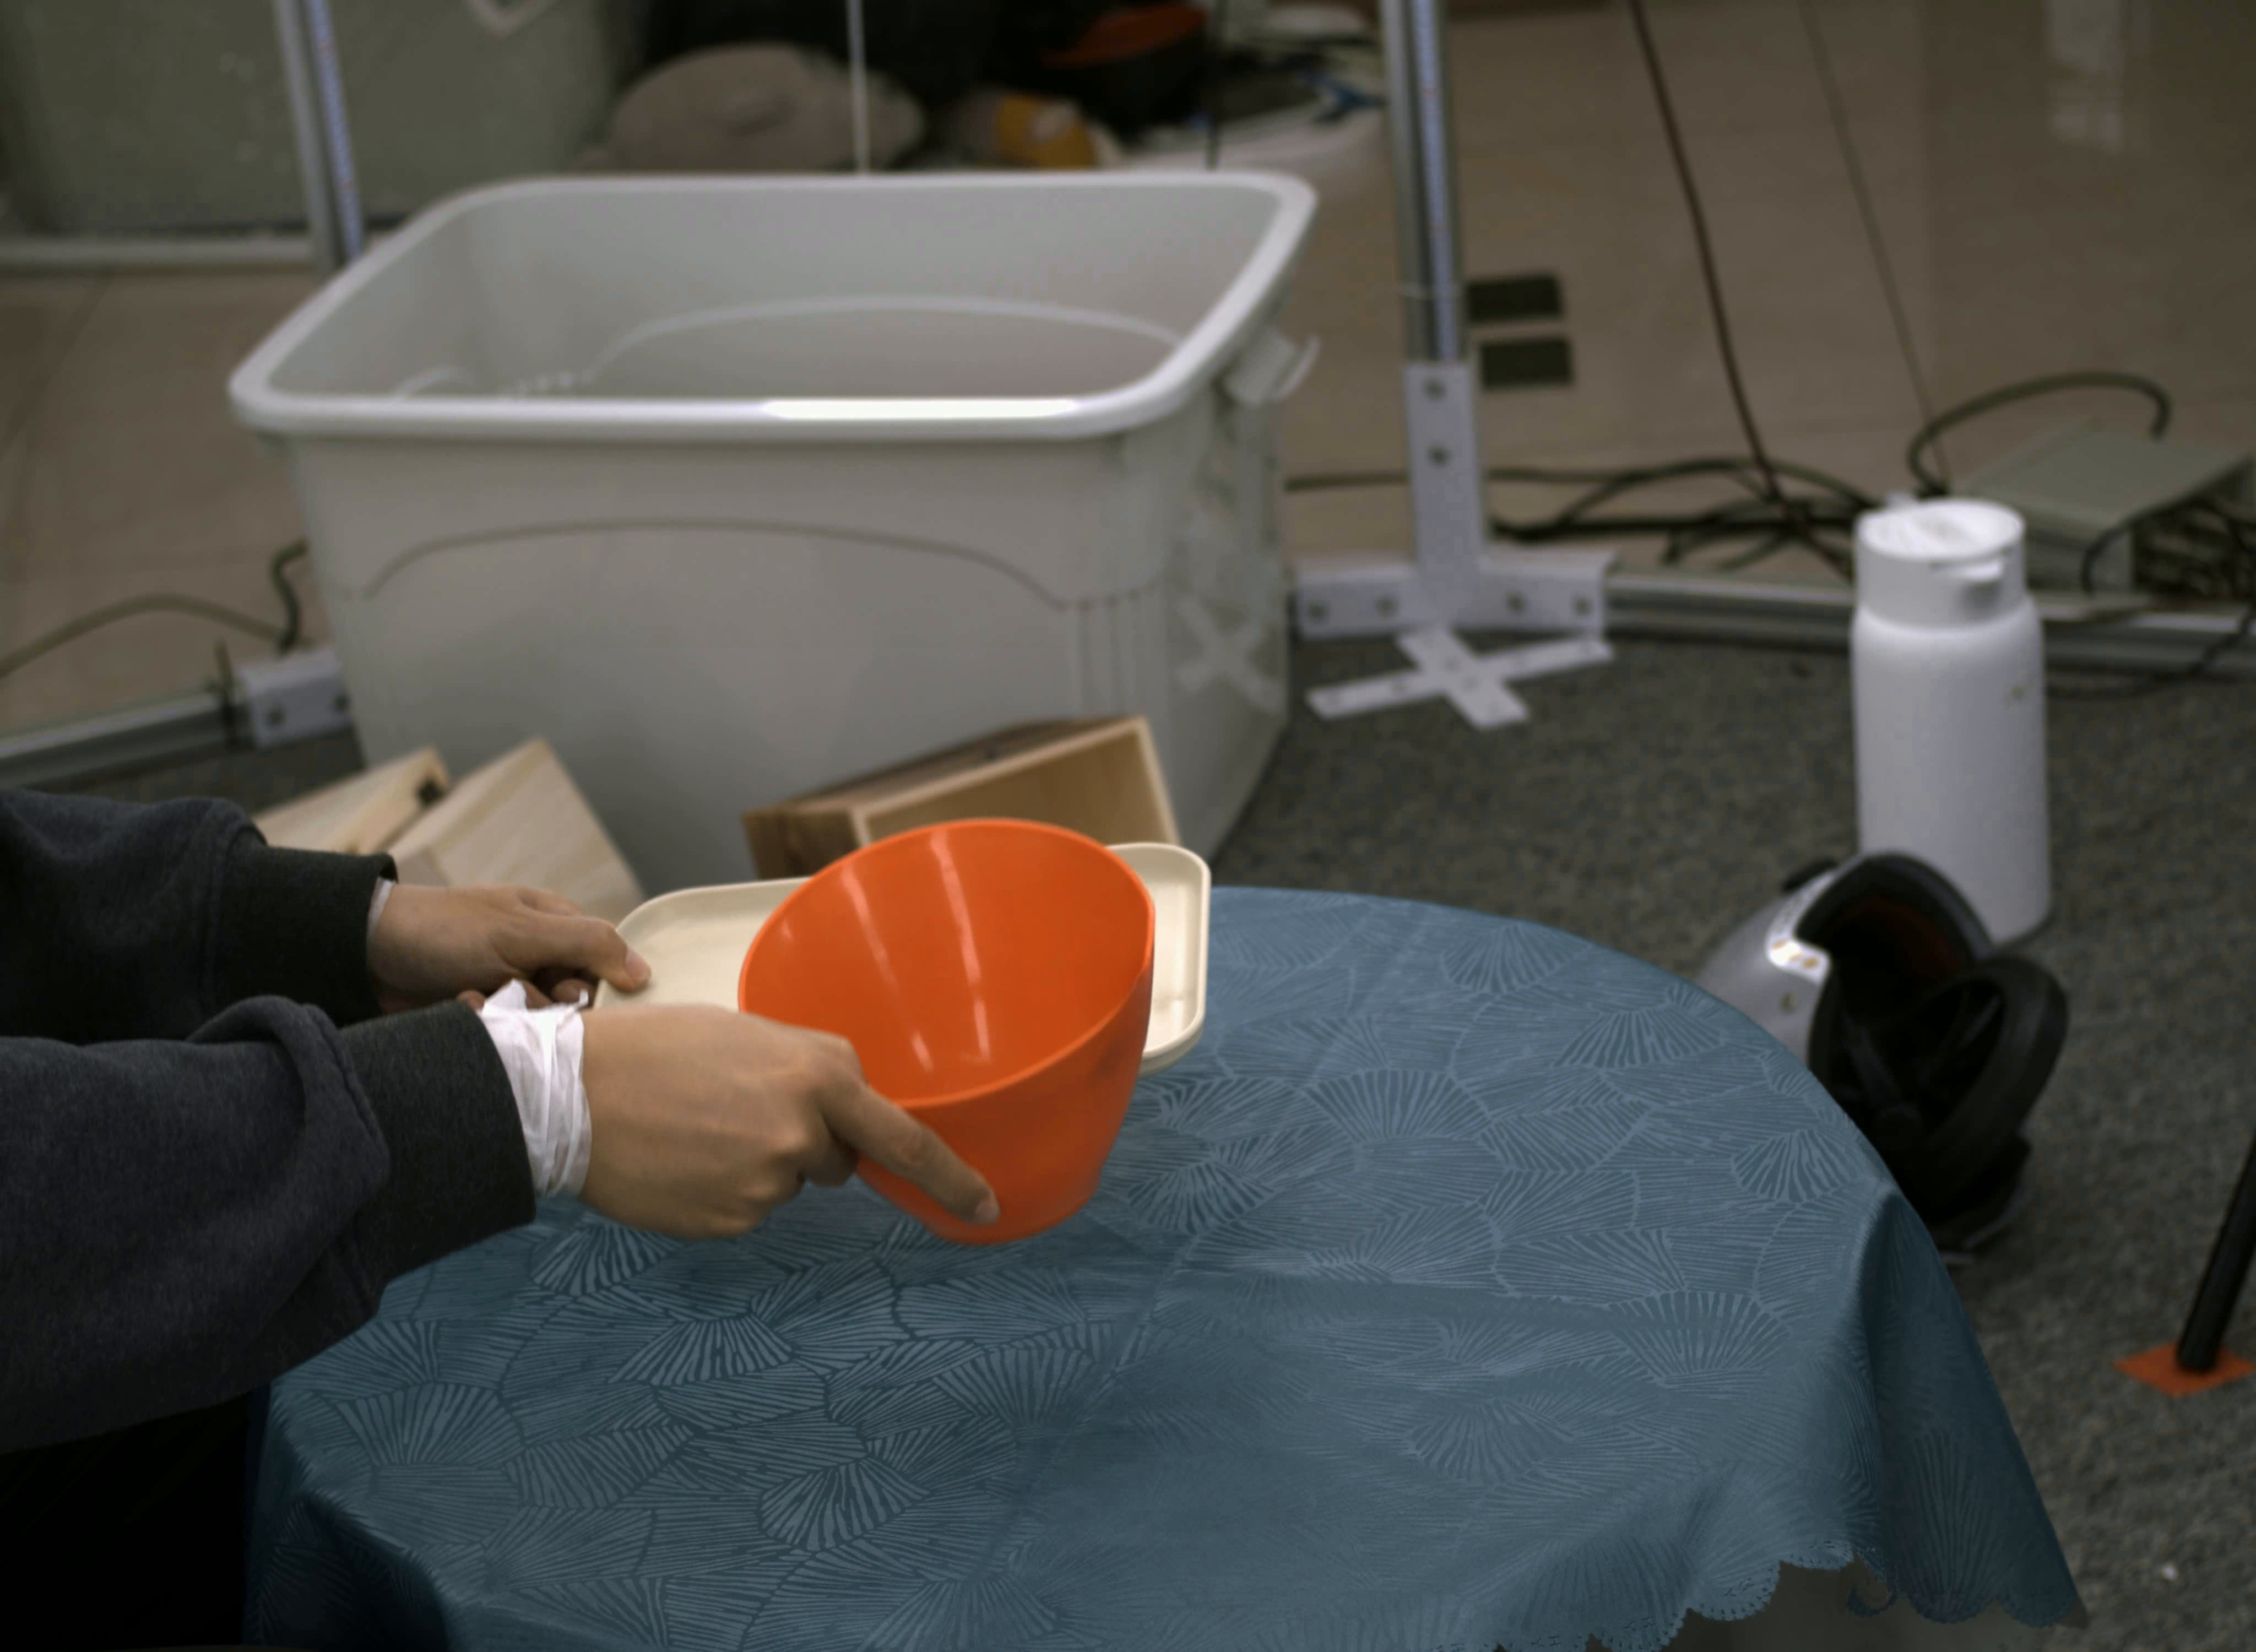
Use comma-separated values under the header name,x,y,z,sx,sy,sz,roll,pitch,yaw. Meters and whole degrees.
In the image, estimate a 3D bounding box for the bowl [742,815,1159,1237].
name,x,y,z,sx,sy,sz,roll,pitch,yaw
bowl,-0.053,0.077,1.976,0.148,0.106,0.145,-11,28,6

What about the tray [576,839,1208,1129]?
name,x,y,z,sx,sy,sz,roll,pitch,yaw
tray,-0.087,0.061,2.167,0.239,0.018,0.168,-6,29,5
